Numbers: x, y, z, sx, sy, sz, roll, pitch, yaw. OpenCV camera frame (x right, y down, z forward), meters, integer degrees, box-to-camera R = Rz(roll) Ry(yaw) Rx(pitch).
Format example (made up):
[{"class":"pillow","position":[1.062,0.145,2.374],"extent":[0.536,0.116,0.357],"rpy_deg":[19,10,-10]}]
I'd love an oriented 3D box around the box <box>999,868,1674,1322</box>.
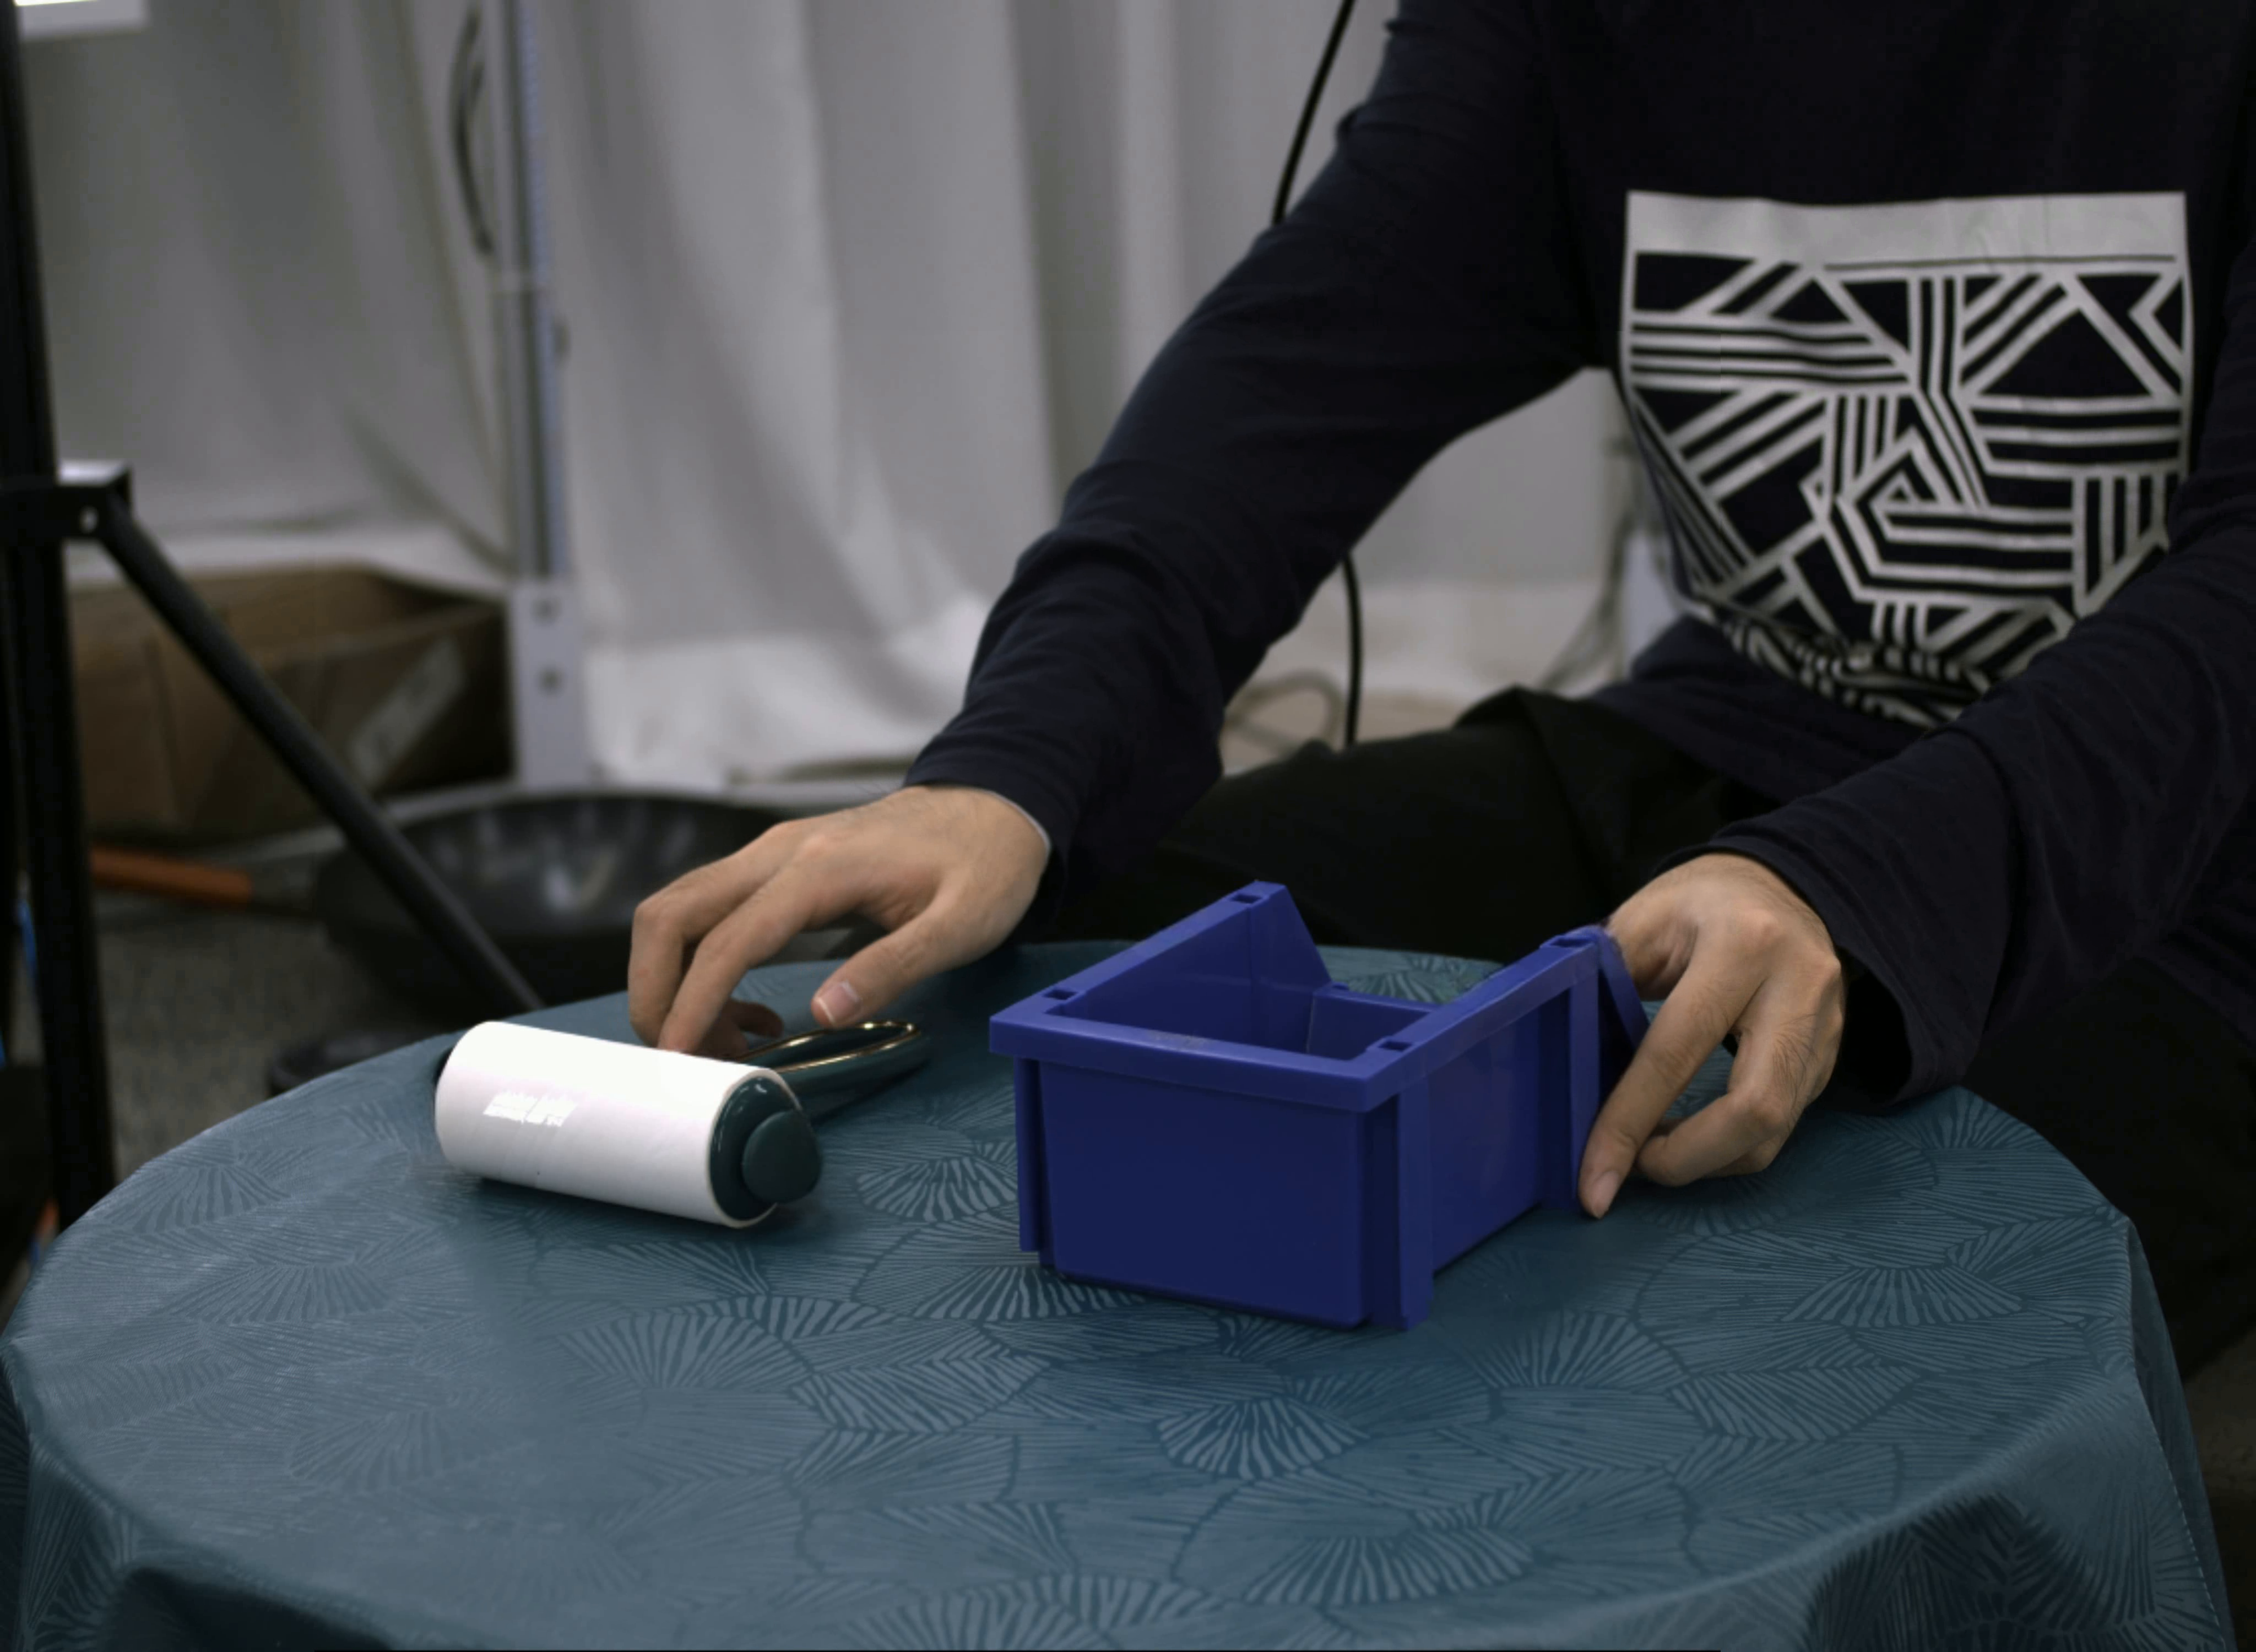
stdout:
[{"class":"box","position":[0.062,0.073,1.528],"extent":[0.127,0.082,0.176],"rpy_deg":[7,21,33]}]

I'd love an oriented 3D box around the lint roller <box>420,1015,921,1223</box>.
[{"class":"lint roller","position":[-0.117,0.074,1.626],"extent":[0.137,0.048,0.176],"rpy_deg":[8,16,31]}]
